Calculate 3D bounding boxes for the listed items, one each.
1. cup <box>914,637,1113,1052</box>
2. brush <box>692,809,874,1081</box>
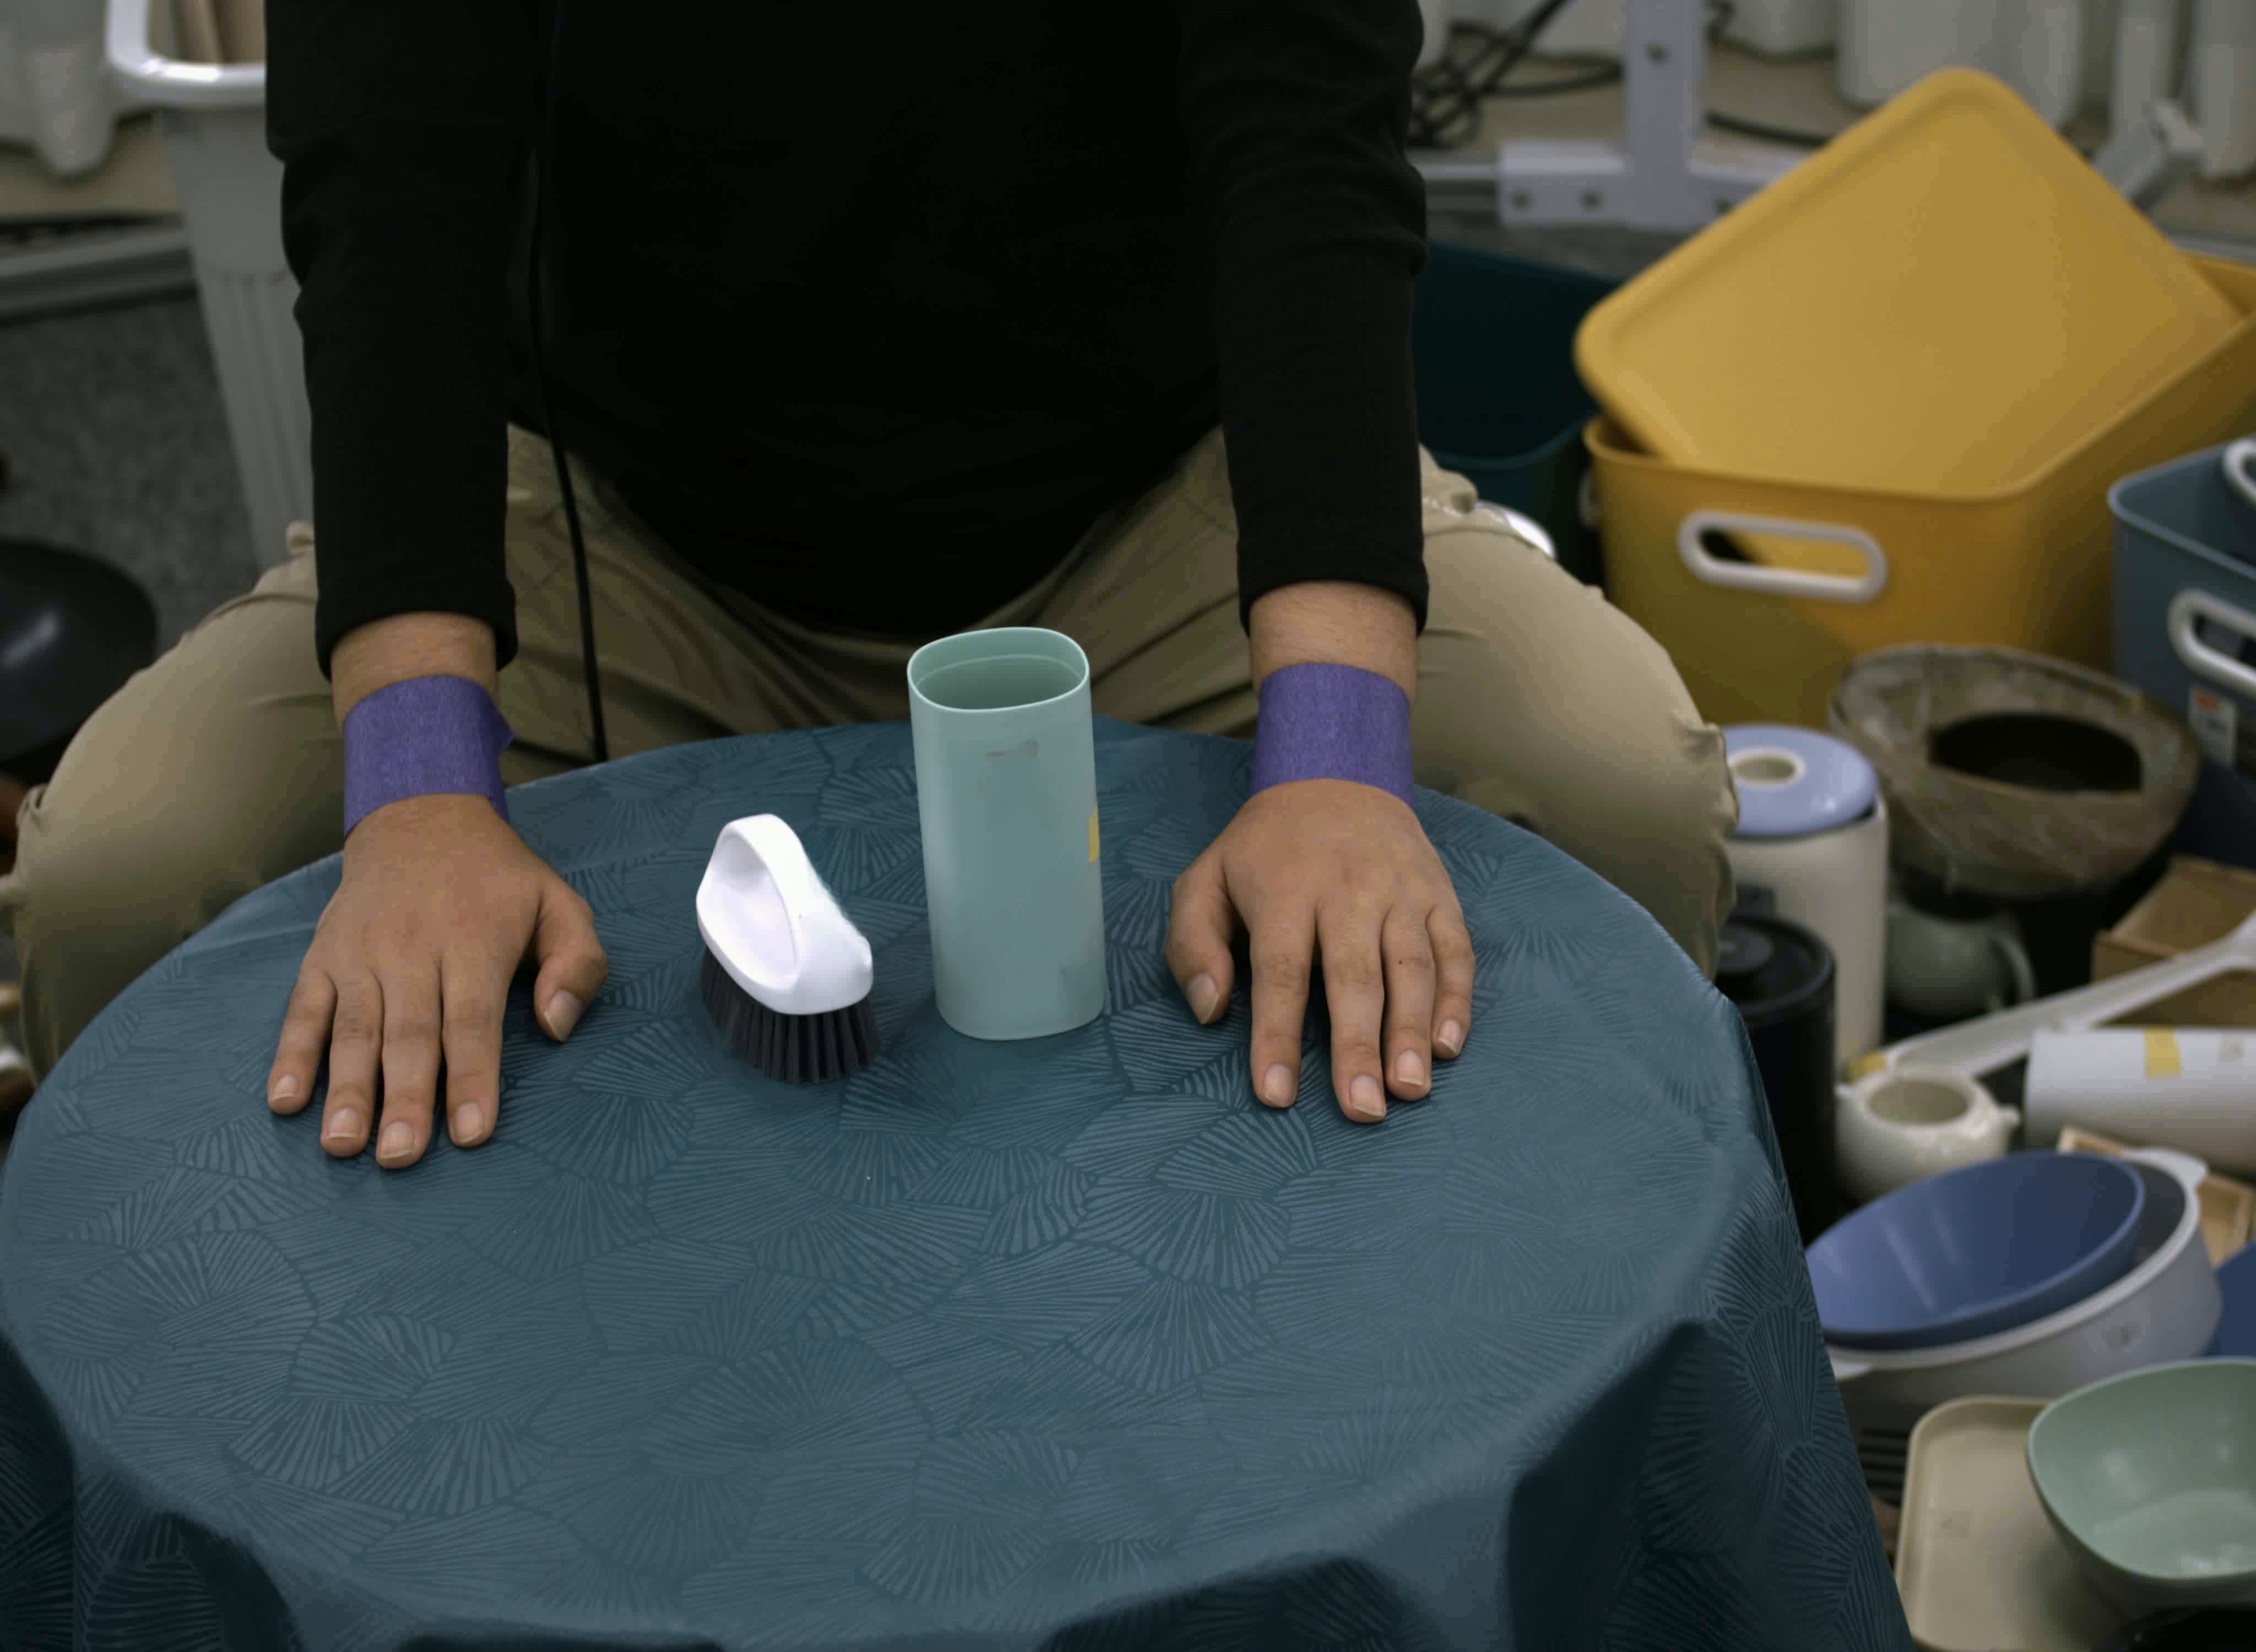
[{"bbox_3d":[-0.041,0.007,1.955,0.066,0.131,0.068,-3,27,2],"label":"cup"},{"bbox_3d":[-0.122,0.035,1.959,0.050,0.071,0.100,-11,30,-18],"label":"brush"}]
